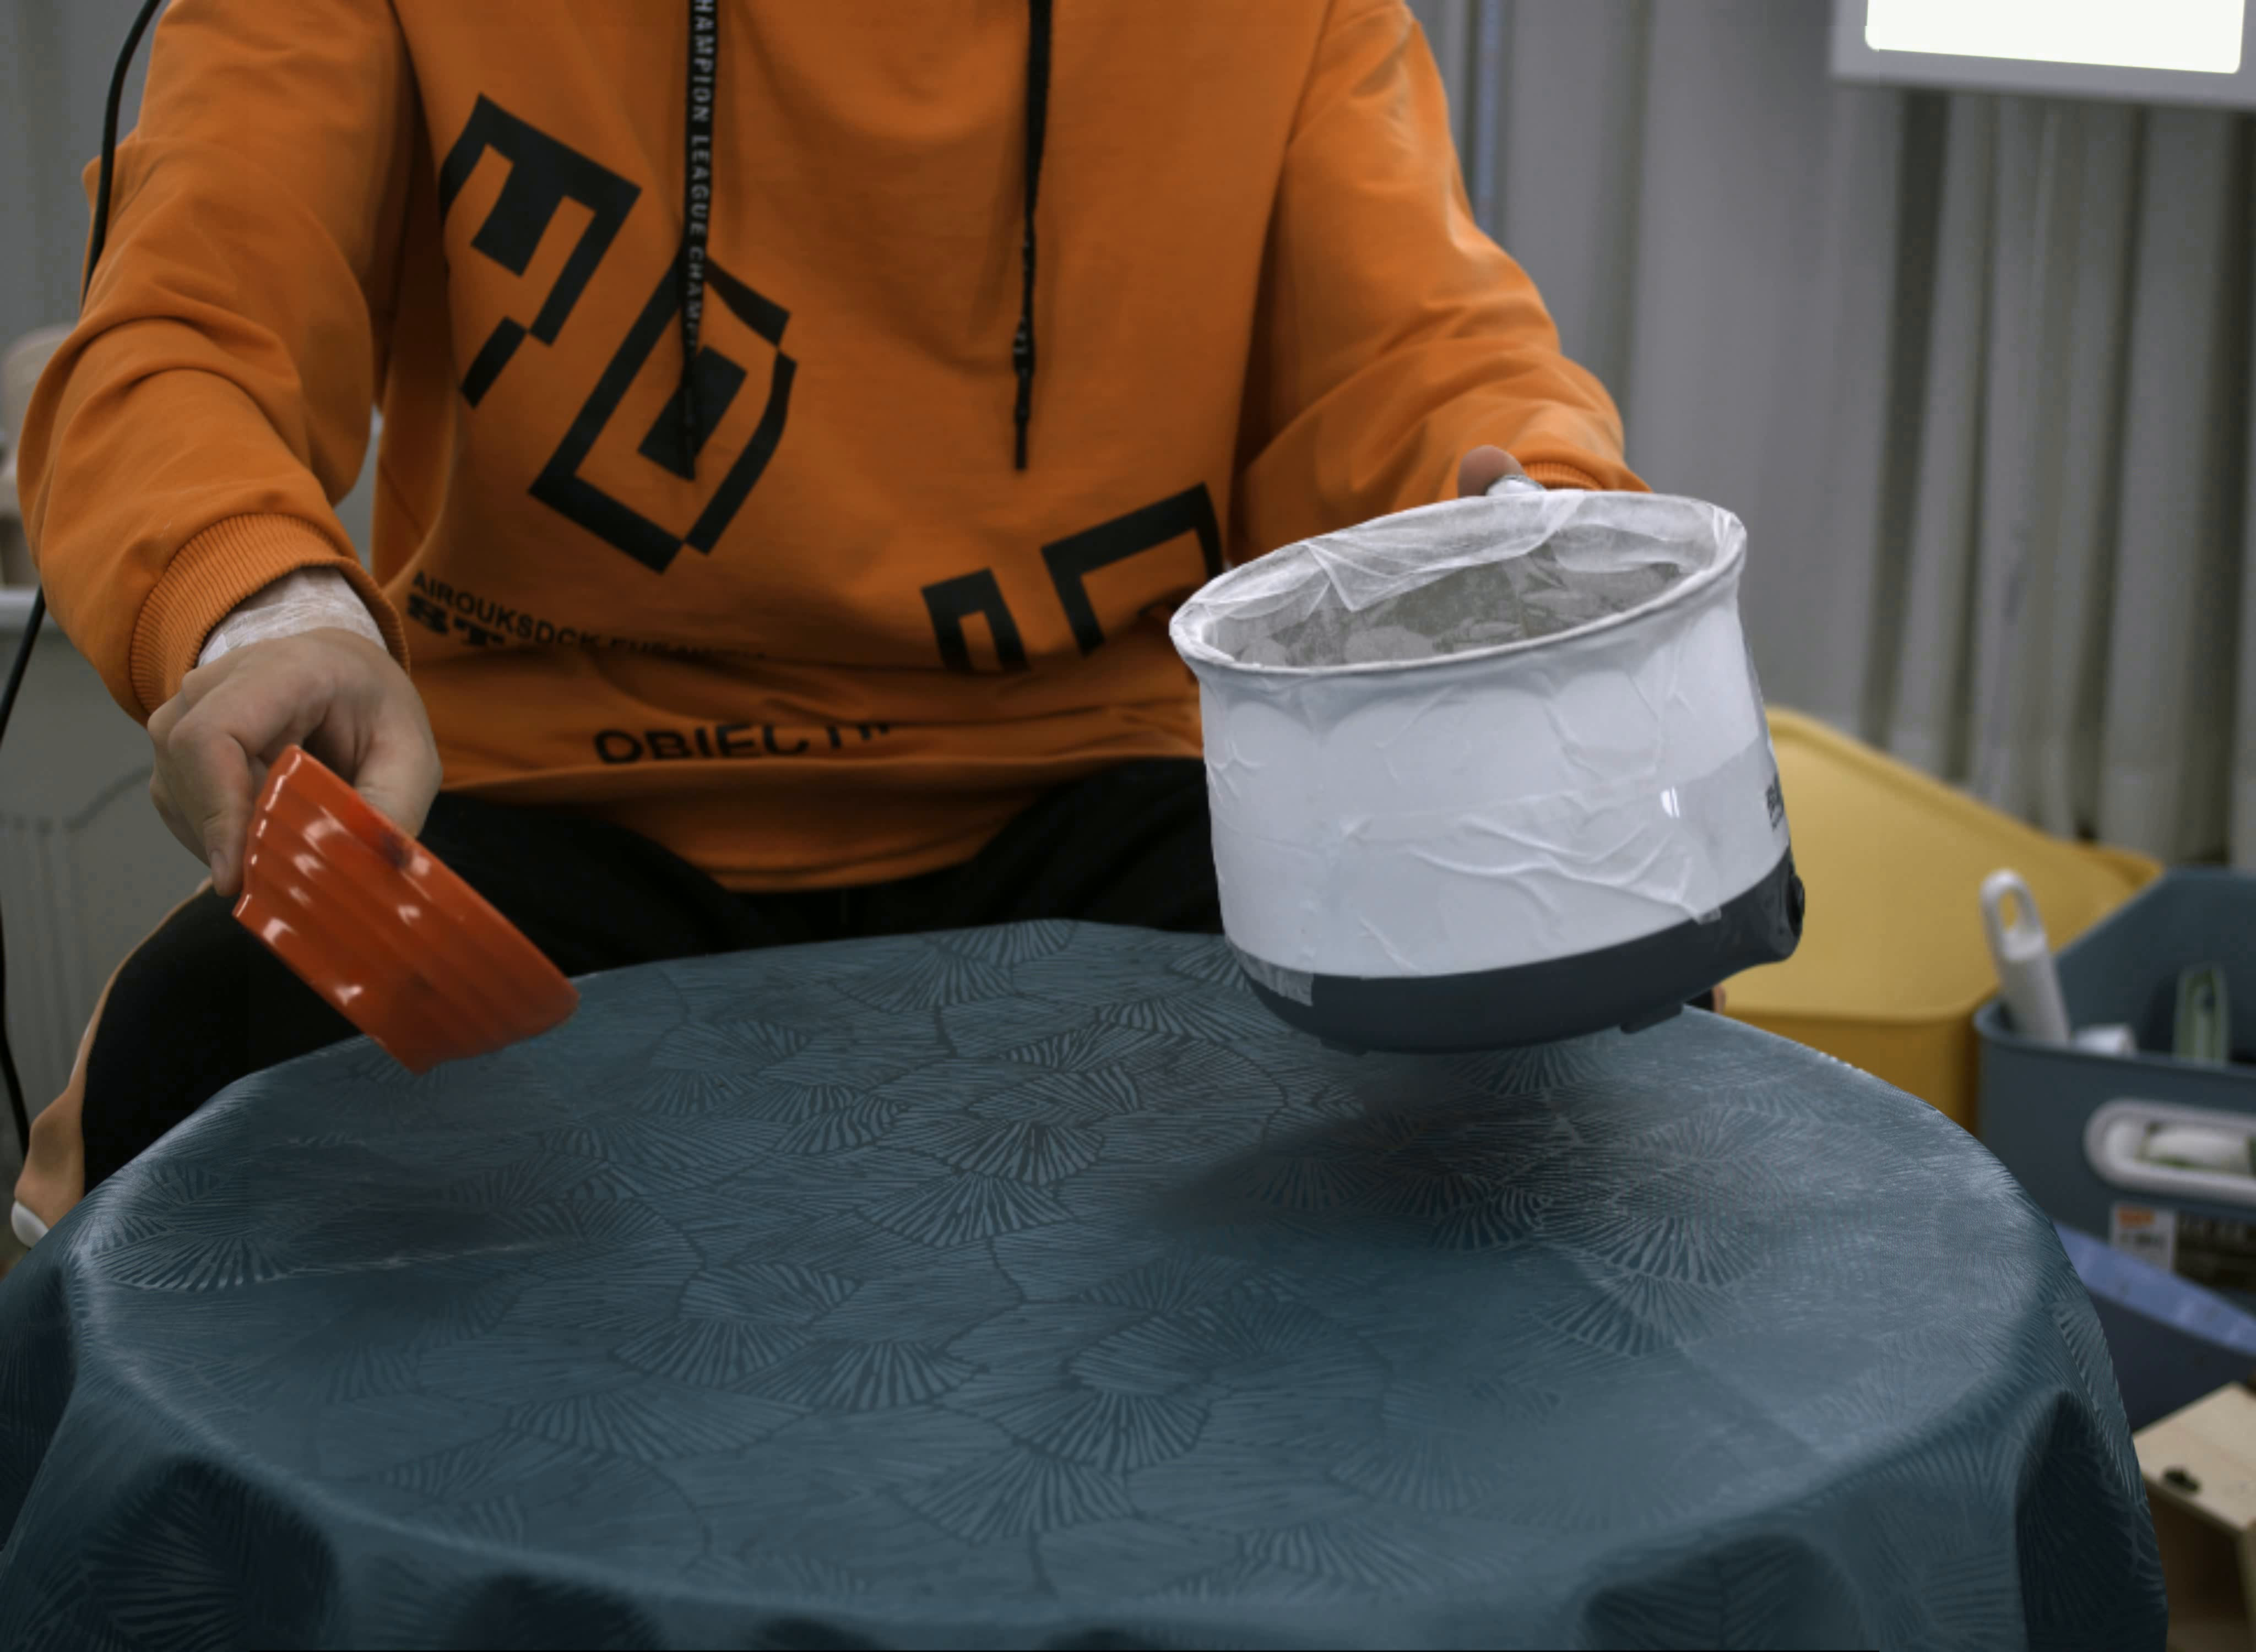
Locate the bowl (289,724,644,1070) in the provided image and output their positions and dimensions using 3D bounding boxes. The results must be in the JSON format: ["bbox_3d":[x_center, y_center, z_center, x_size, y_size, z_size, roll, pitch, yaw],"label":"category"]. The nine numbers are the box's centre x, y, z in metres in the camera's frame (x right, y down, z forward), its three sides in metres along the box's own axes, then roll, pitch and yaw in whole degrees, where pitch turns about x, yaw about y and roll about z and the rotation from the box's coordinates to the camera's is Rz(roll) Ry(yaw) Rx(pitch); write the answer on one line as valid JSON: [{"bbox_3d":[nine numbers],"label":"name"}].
[{"bbox_3d":[-0.203,0.028,1.555,0.119,0.051,0.118,43,8,-7],"label":"bowl"}]

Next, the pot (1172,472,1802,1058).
[{"bbox_3d":[0.116,-0.024,1.634,0.177,0.138,0.233,-5,18,14],"label":"pot"}]
